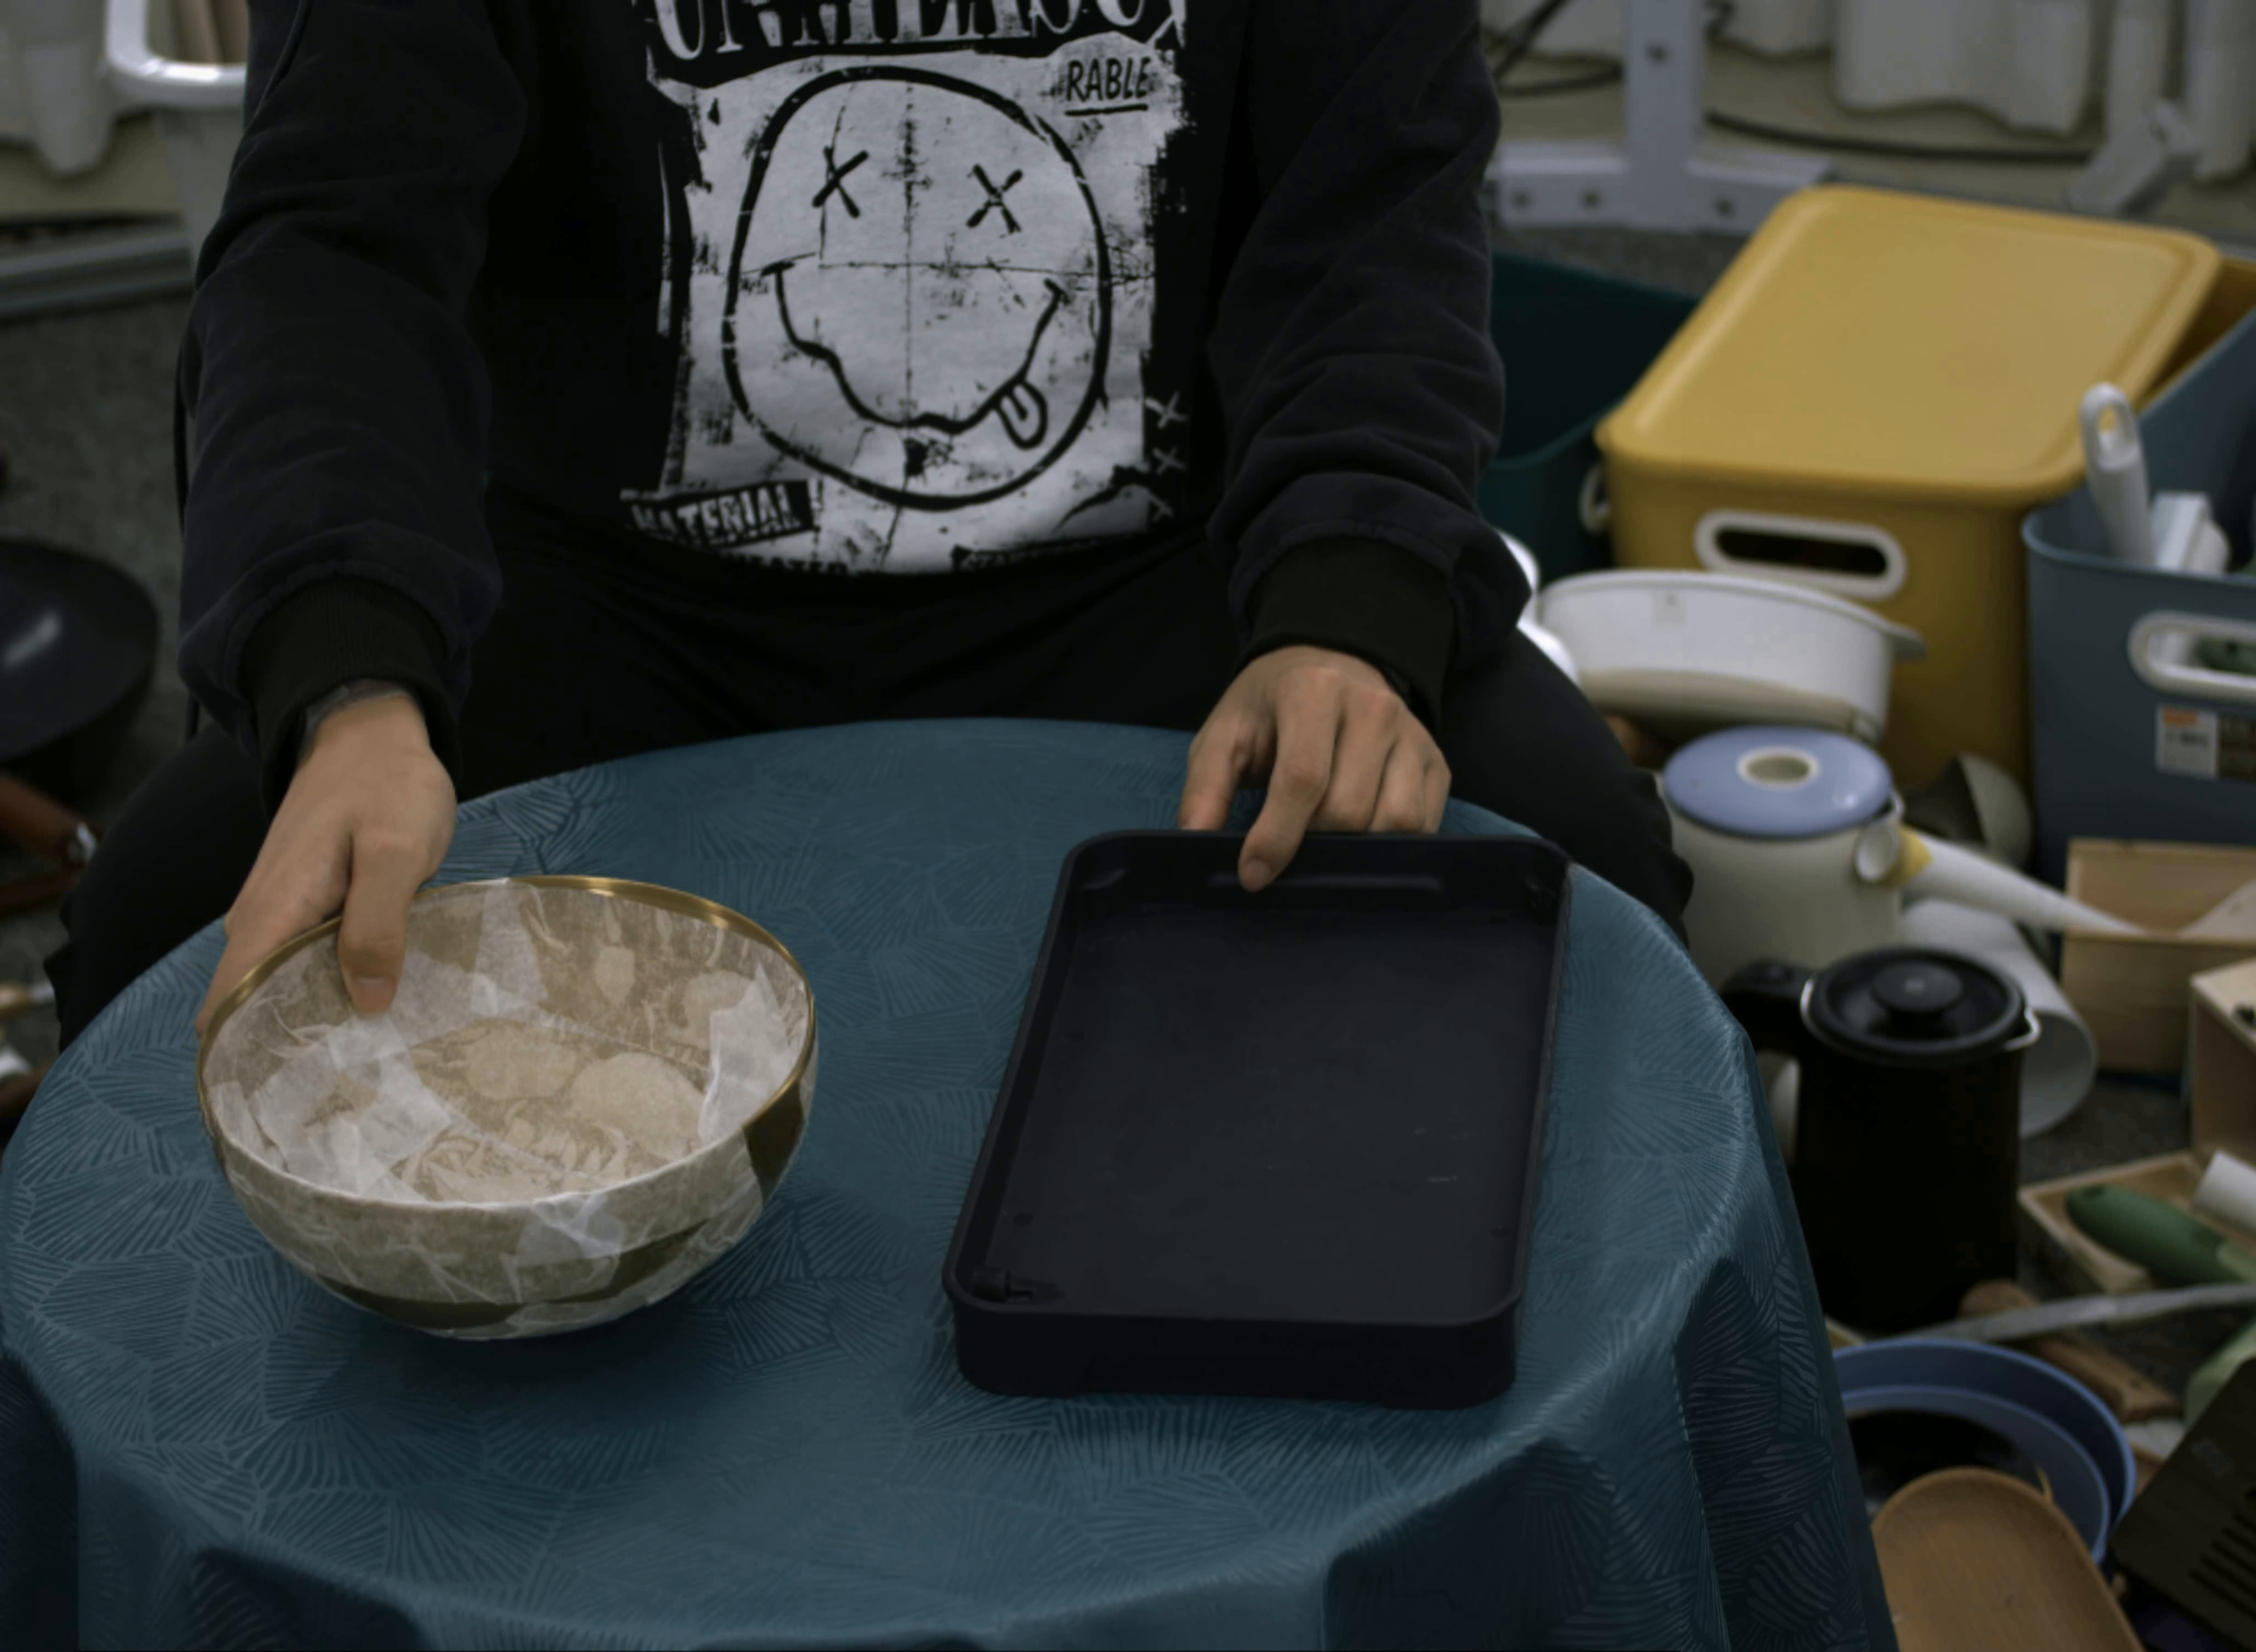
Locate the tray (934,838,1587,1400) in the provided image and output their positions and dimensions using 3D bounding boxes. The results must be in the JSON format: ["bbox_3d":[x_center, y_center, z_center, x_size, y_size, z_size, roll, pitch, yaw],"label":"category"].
[{"bbox_3d":[0.051,0.091,1.873,0.183,0.036,0.323,1,27,9],"label":"tray"}]

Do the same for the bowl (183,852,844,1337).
[{"bbox_3d":[-0.194,0.101,1.814,0.213,0.093,0.218,-2,29,2],"label":"bowl"}]
